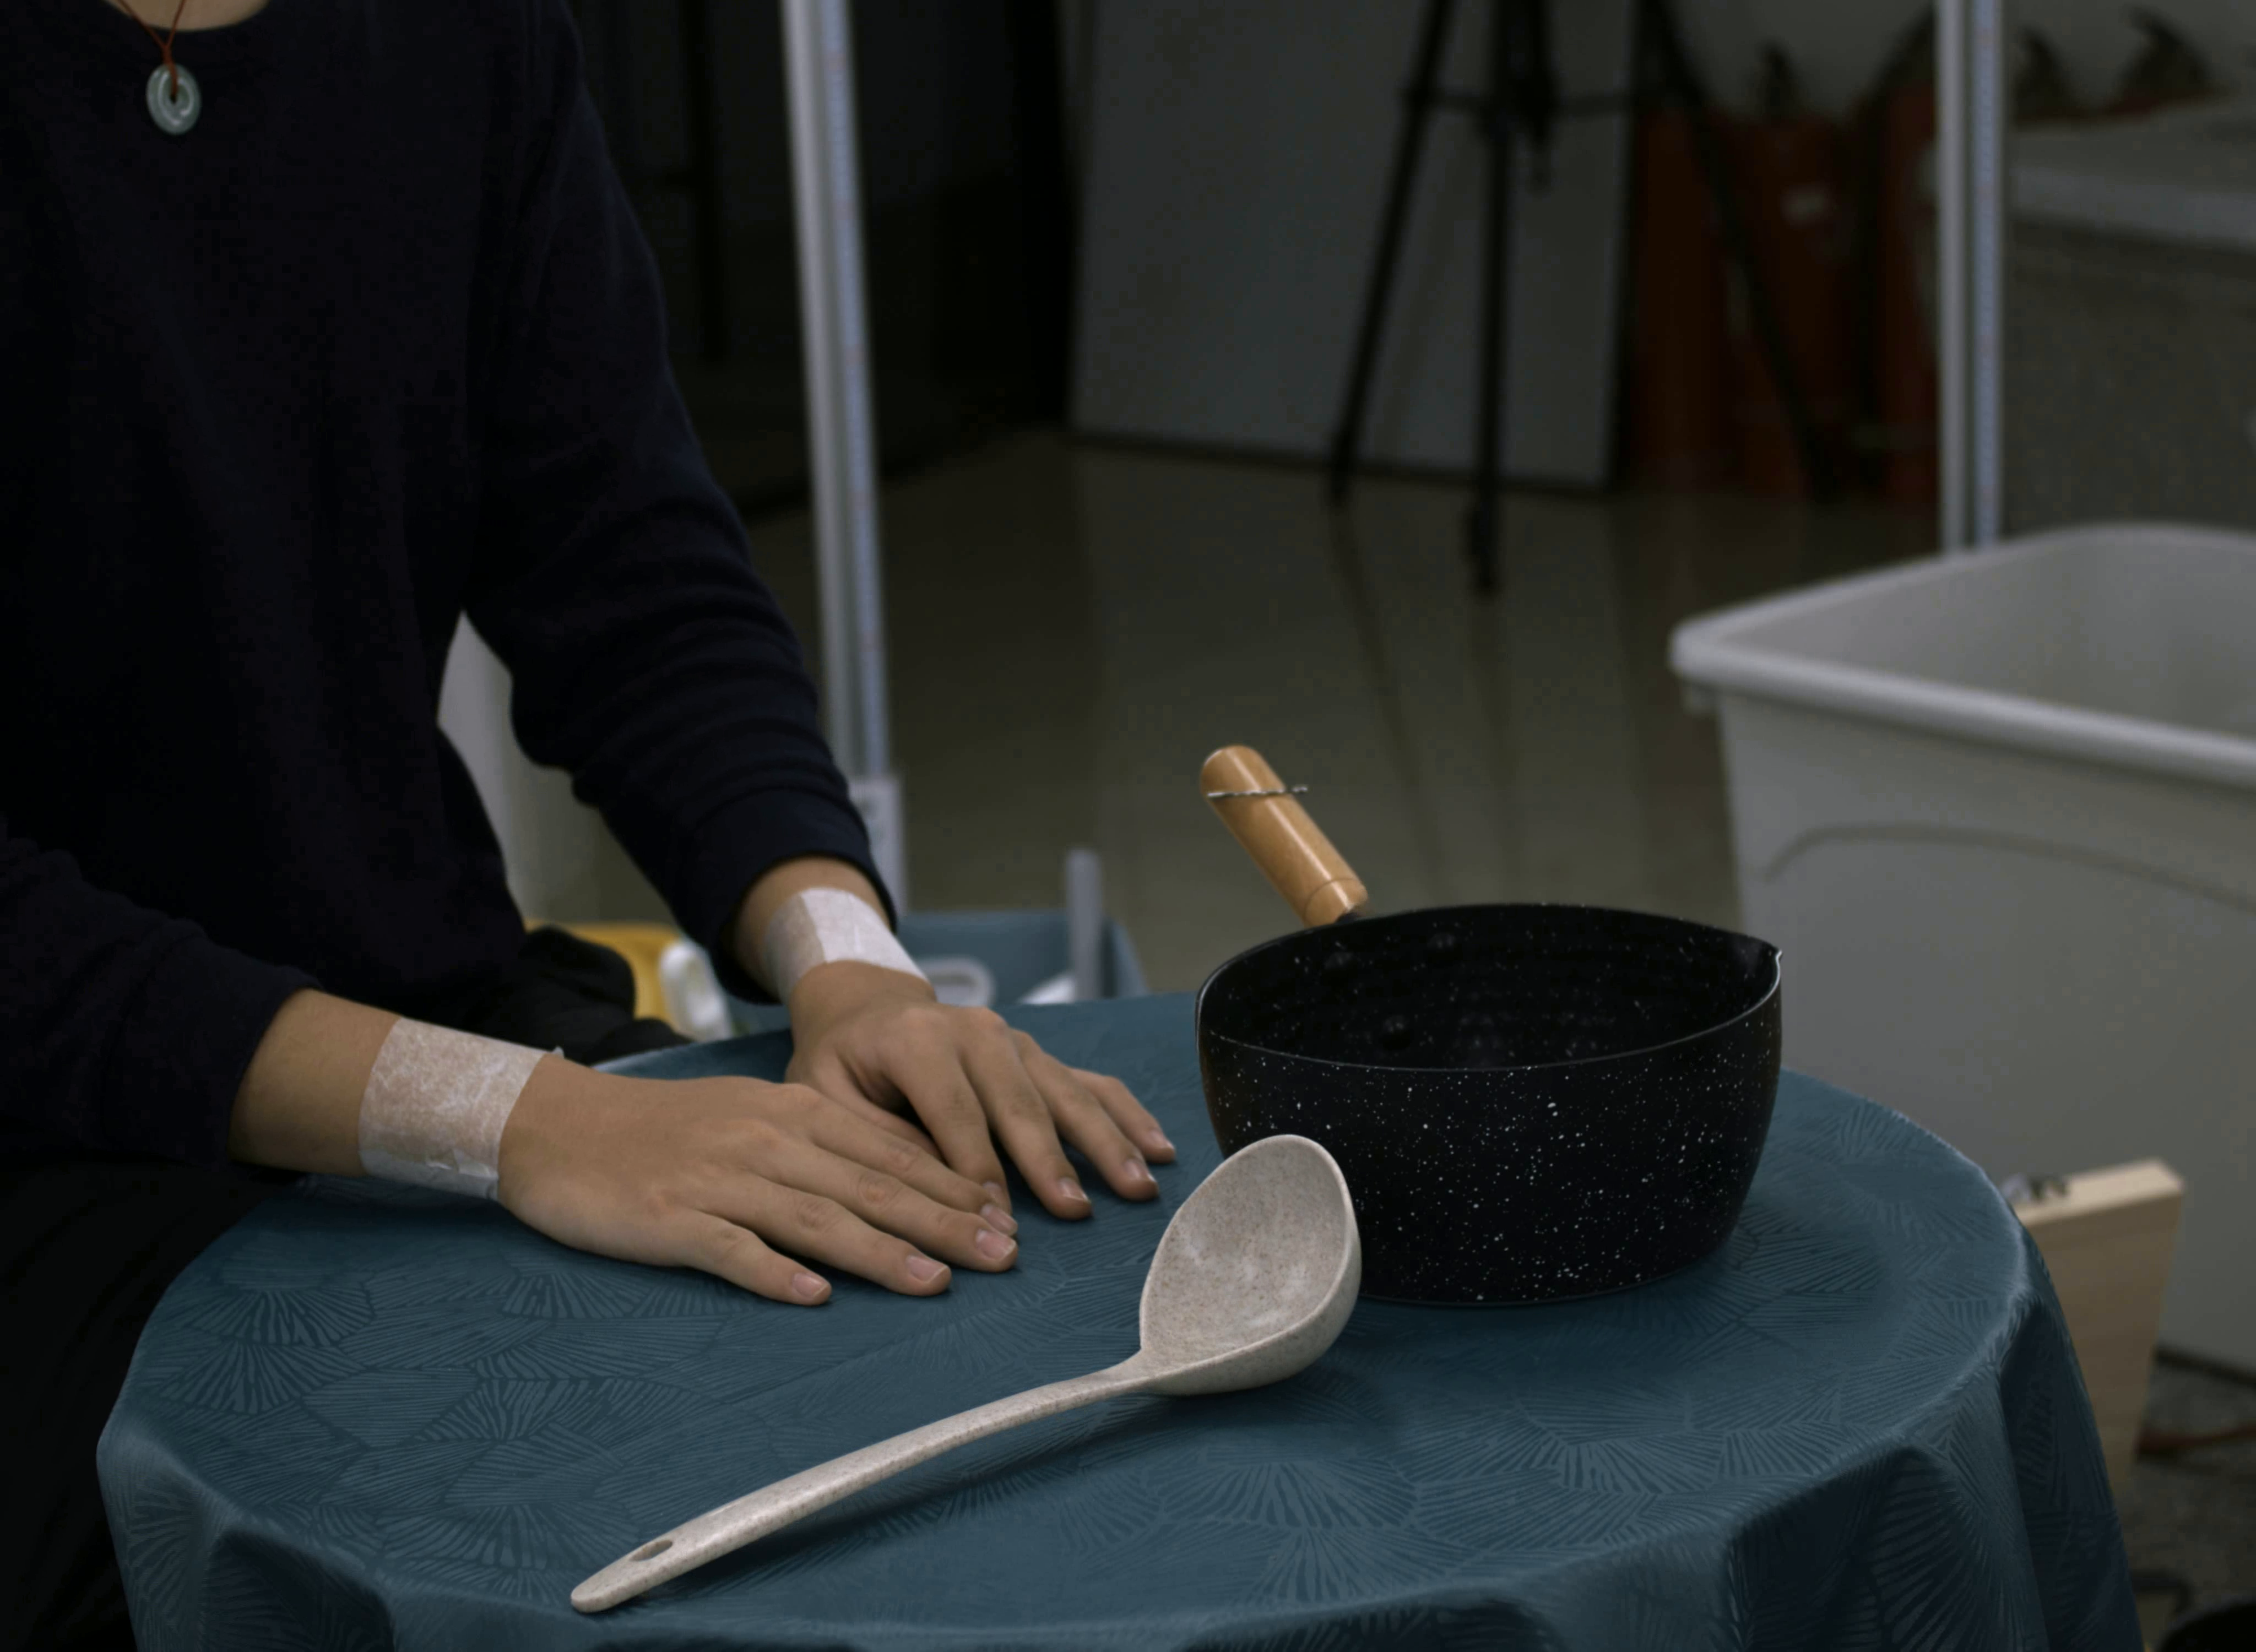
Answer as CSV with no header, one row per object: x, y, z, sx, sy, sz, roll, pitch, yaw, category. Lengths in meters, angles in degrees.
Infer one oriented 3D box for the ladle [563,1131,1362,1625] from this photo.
-0.048,0.152,1.522,0.269,0.070,0.090,-15,12,-35,ladle

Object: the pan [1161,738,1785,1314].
0.089,0.060,1.765,0.203,0.109,0.346,-10,16,-17,pan
